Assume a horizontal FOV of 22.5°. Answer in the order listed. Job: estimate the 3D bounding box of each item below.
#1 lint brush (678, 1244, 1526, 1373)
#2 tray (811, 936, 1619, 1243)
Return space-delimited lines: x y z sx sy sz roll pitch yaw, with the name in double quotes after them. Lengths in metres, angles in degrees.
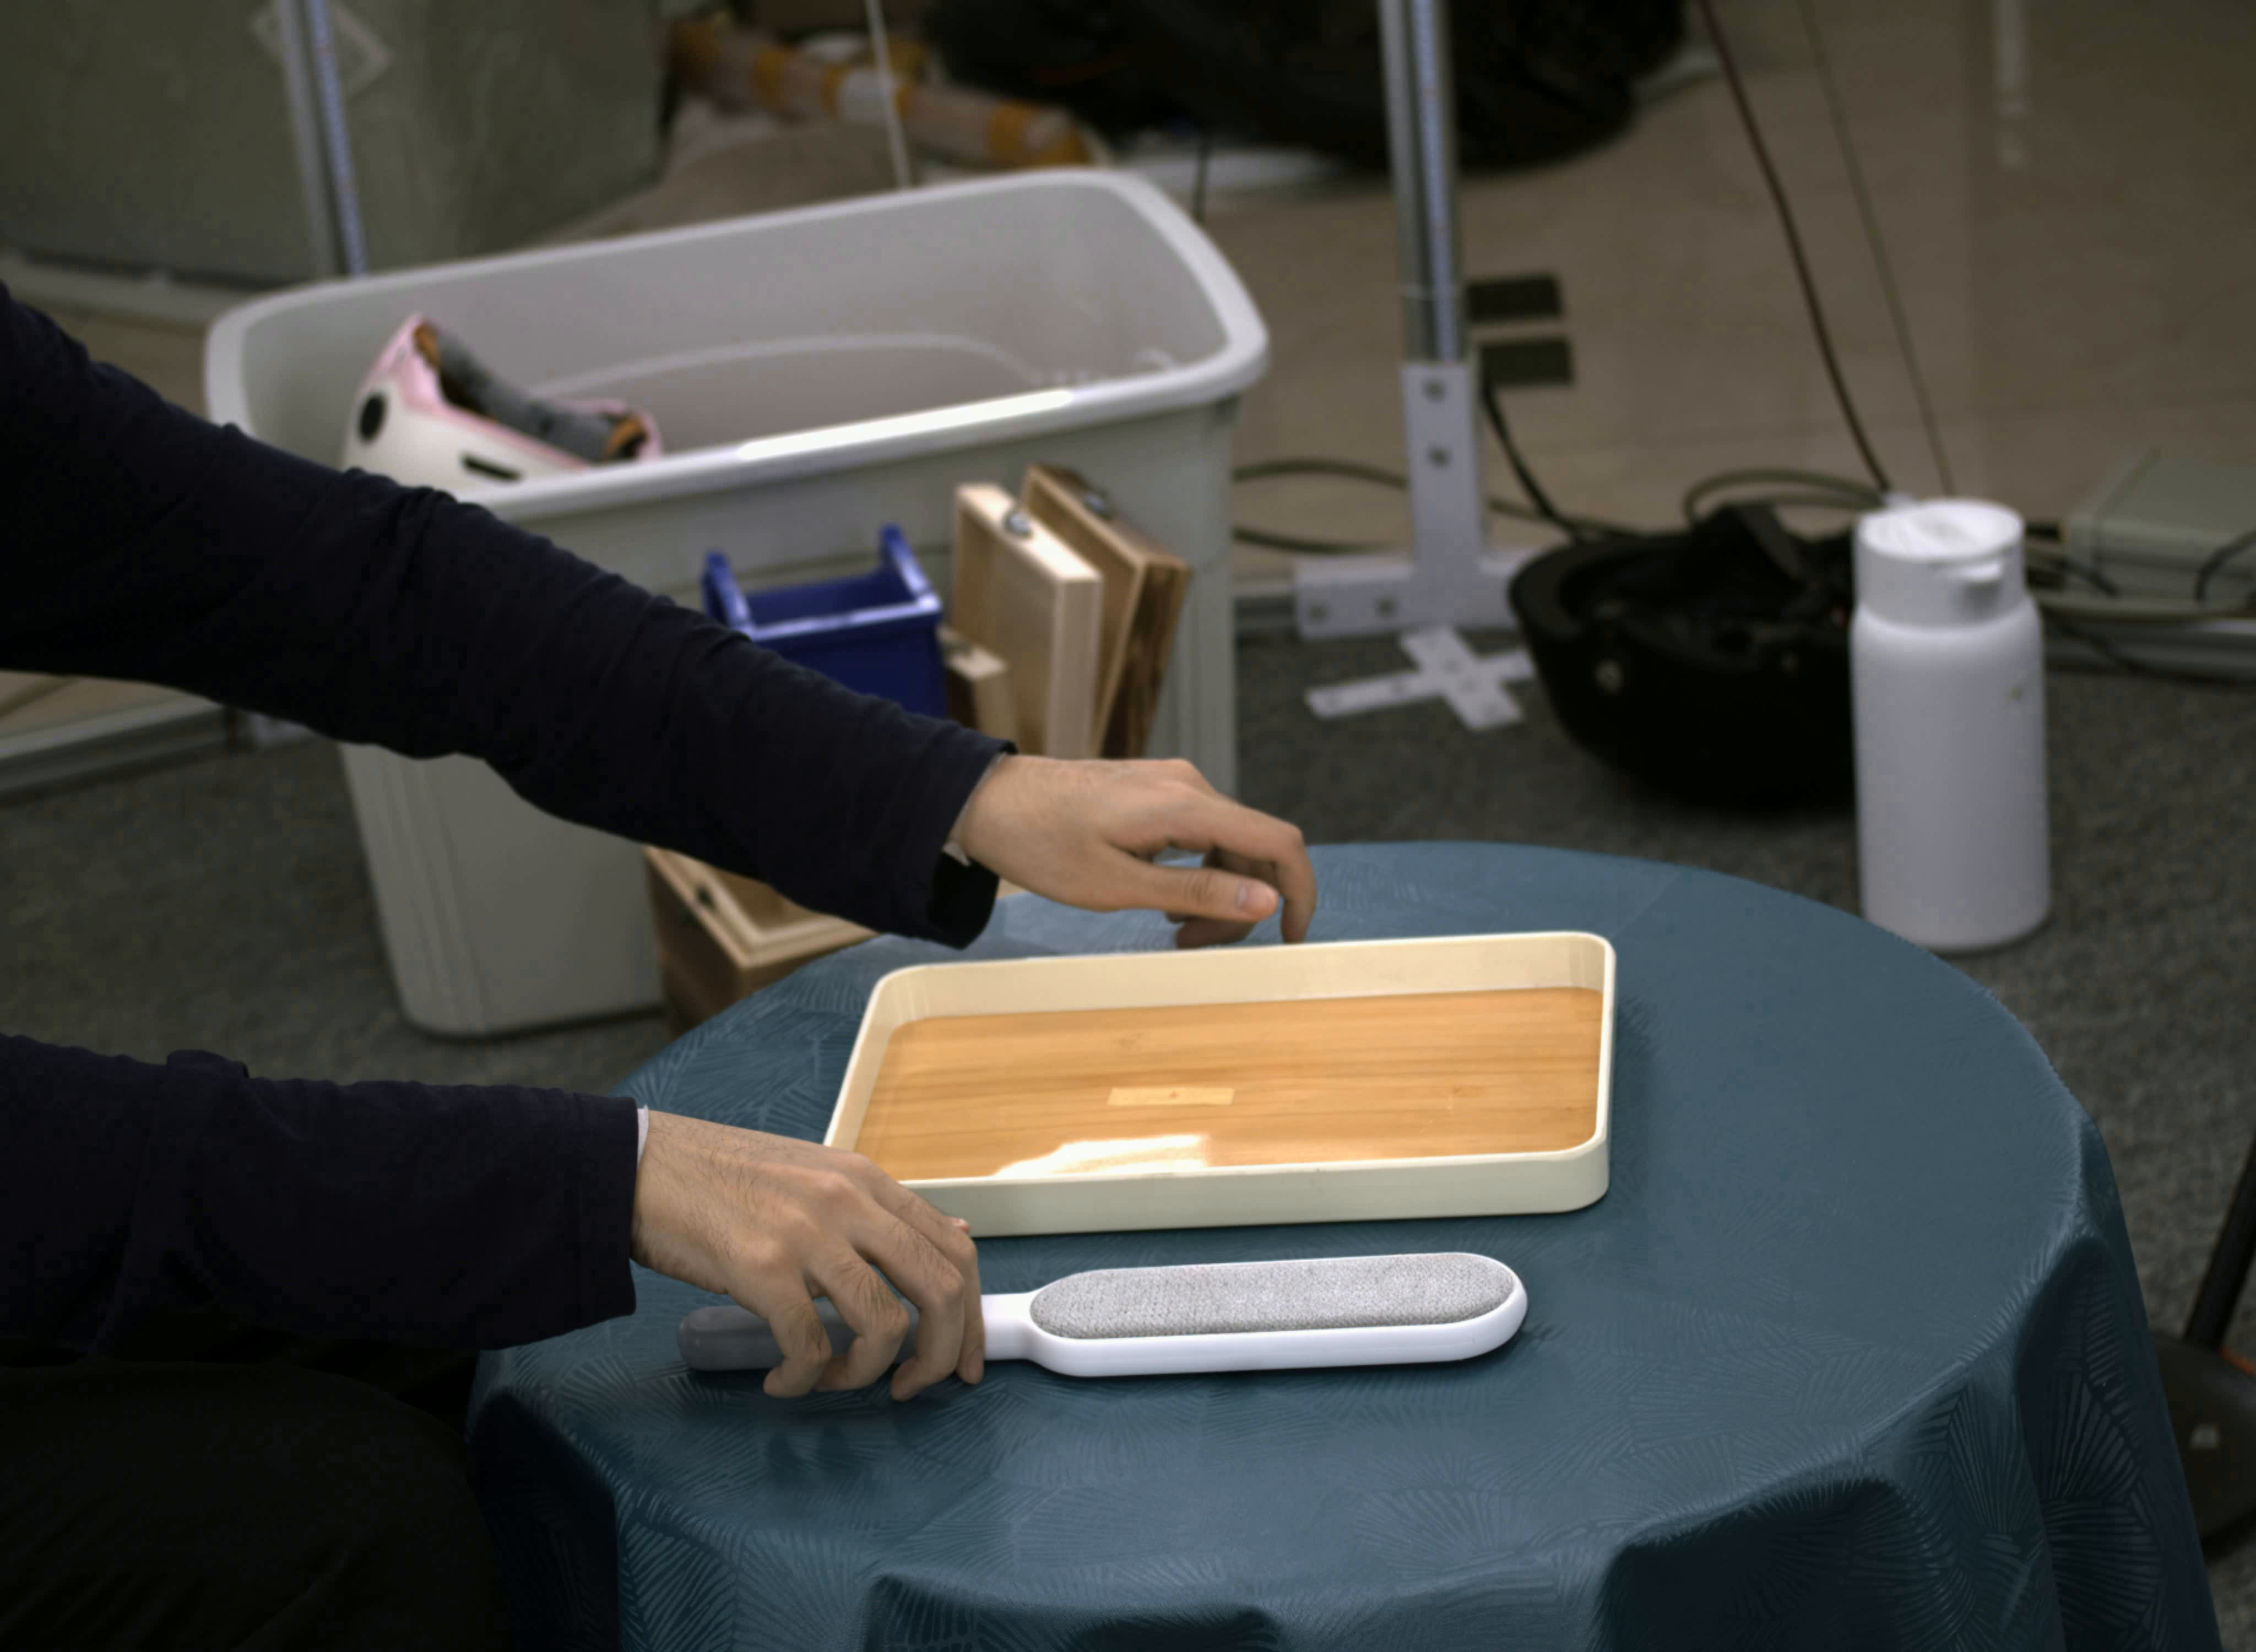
-0.011 0.176 2.043 0.308 0.021 0.059 -3 31 8 "lint brush"
0.038 0.101 2.193 0.300 0.028 0.189 -3 24 9 "tray"
